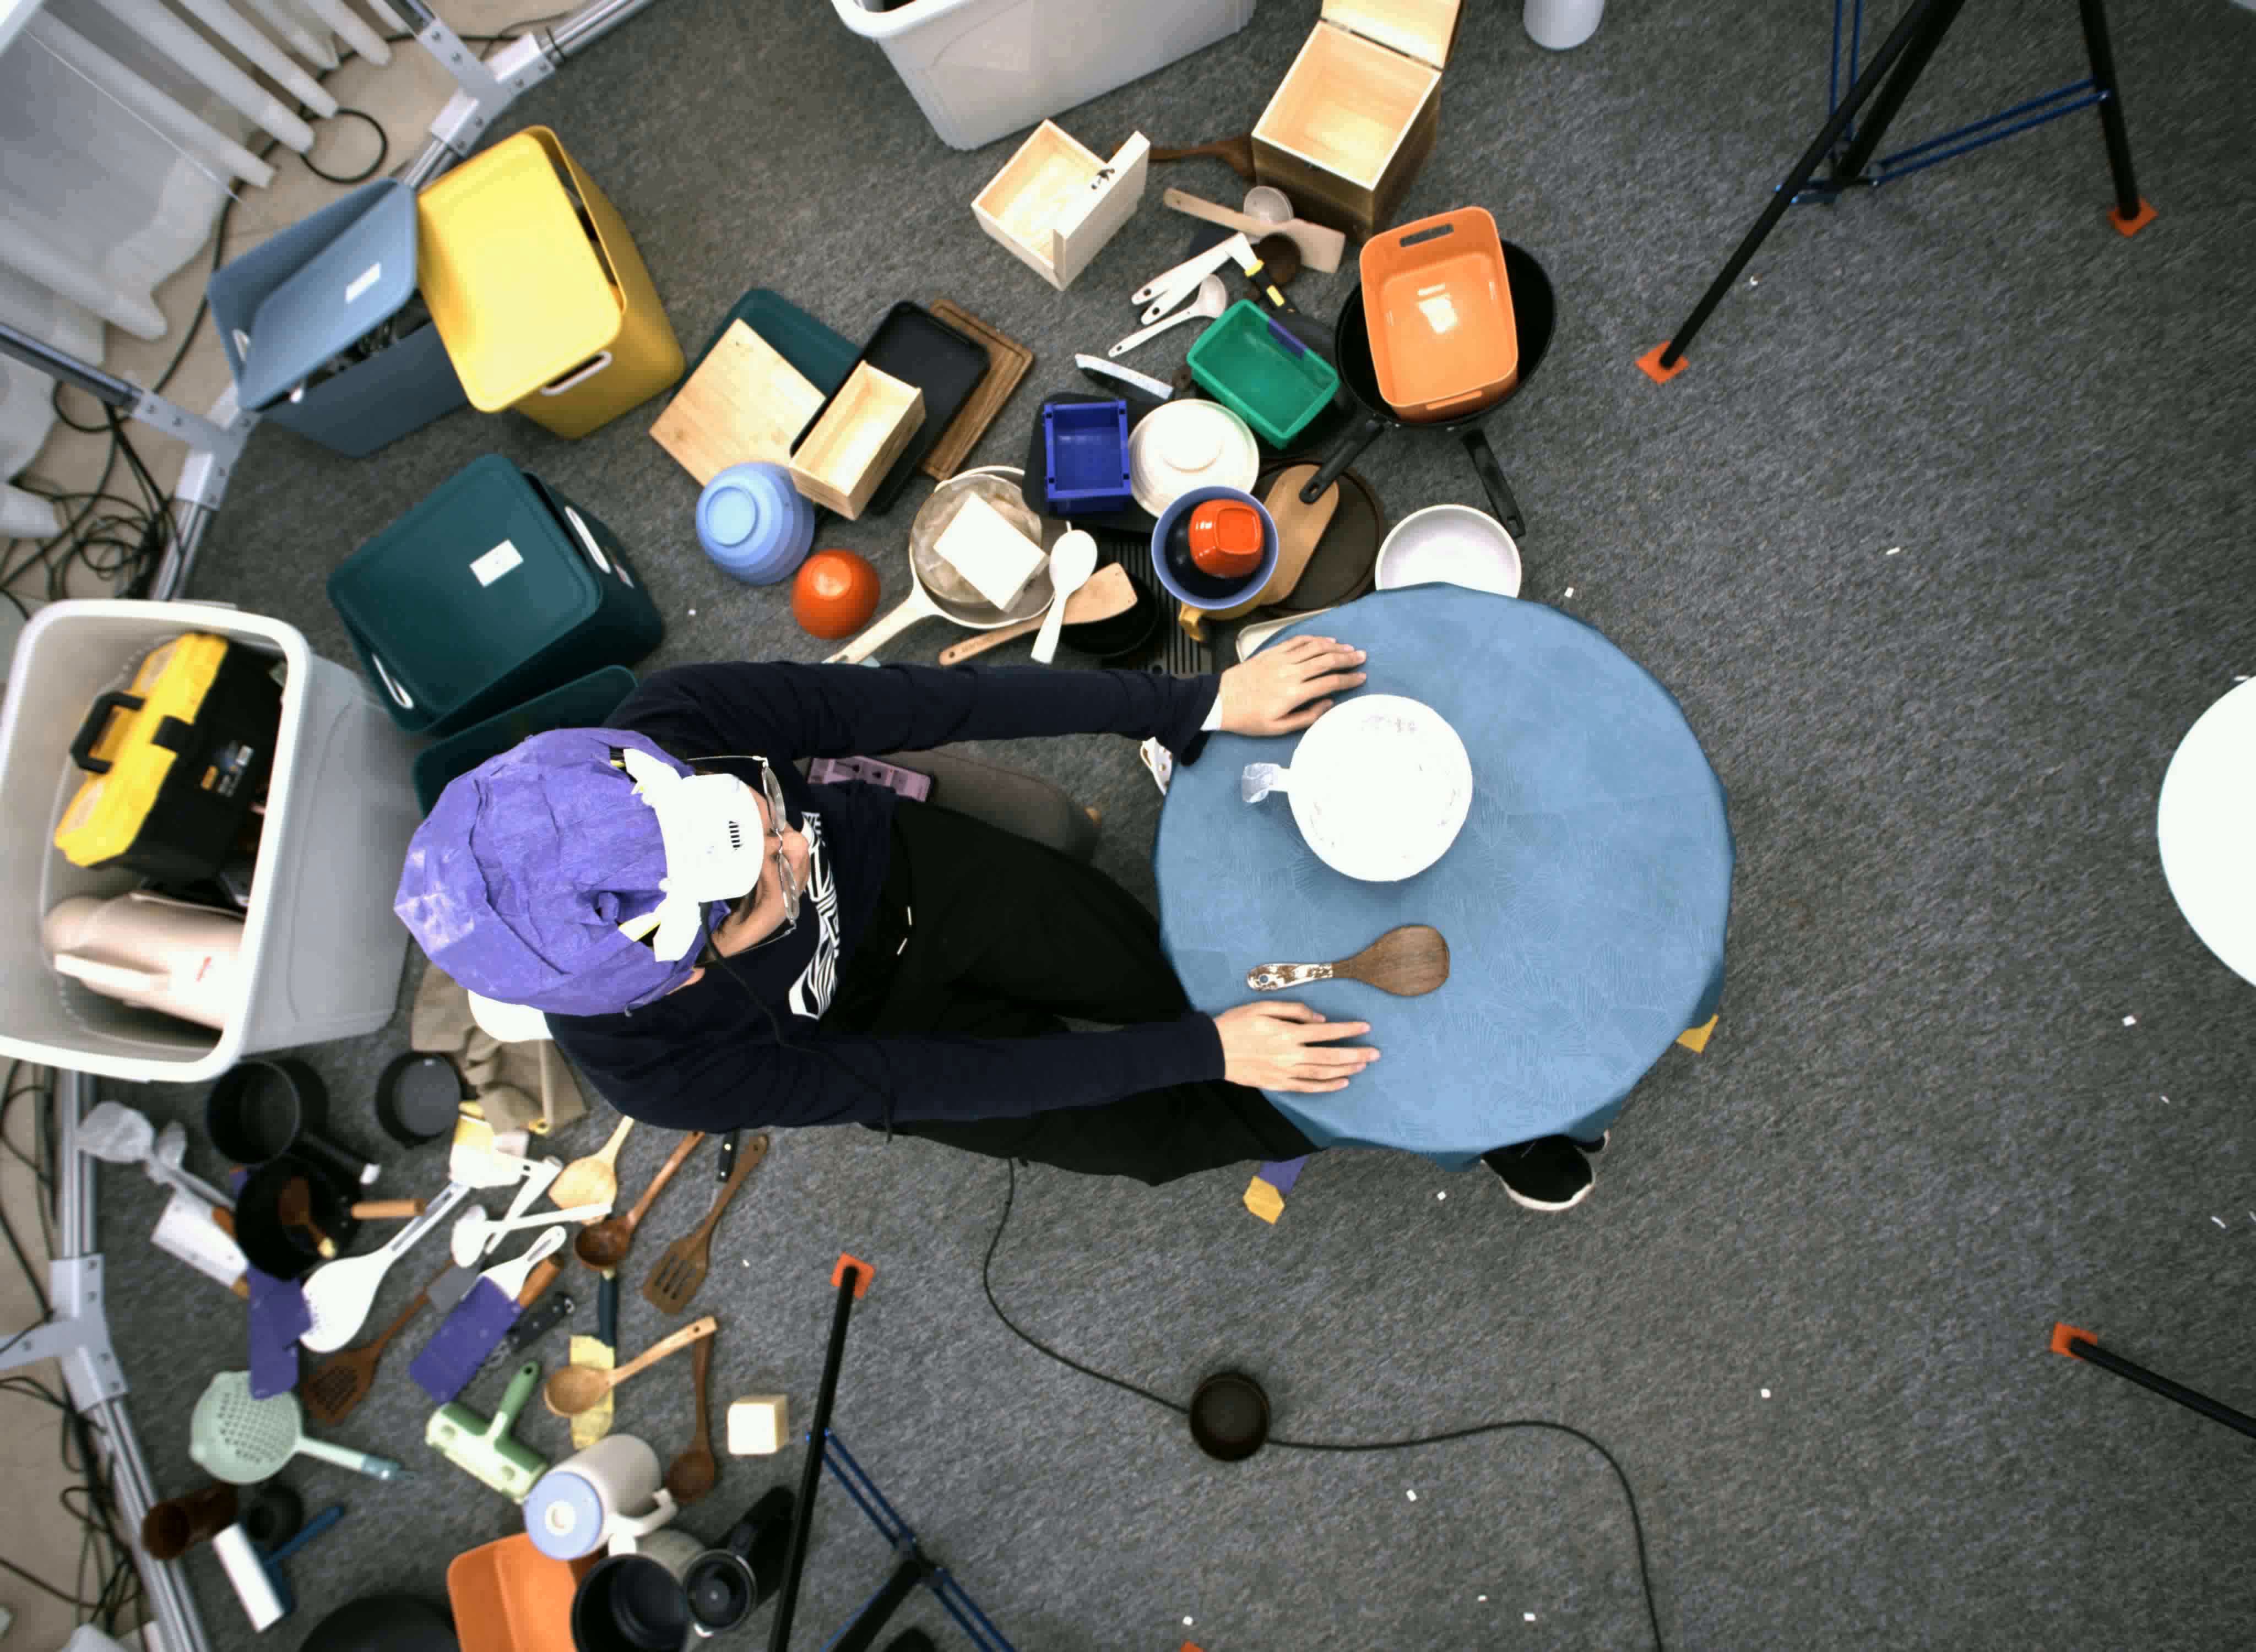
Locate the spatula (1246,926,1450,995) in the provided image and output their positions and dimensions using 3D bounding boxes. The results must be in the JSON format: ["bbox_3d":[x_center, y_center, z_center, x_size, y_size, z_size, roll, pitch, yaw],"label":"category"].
[{"bbox_3d":[0.231,0.148,1.461,0.217,0.009,0.071,-8,84,11],"label":"spatula"}]

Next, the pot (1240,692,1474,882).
[{"bbox_3d":[0.228,-0.038,1.403,0.234,0.137,0.177,4,84,10],"label":"pot"}]
